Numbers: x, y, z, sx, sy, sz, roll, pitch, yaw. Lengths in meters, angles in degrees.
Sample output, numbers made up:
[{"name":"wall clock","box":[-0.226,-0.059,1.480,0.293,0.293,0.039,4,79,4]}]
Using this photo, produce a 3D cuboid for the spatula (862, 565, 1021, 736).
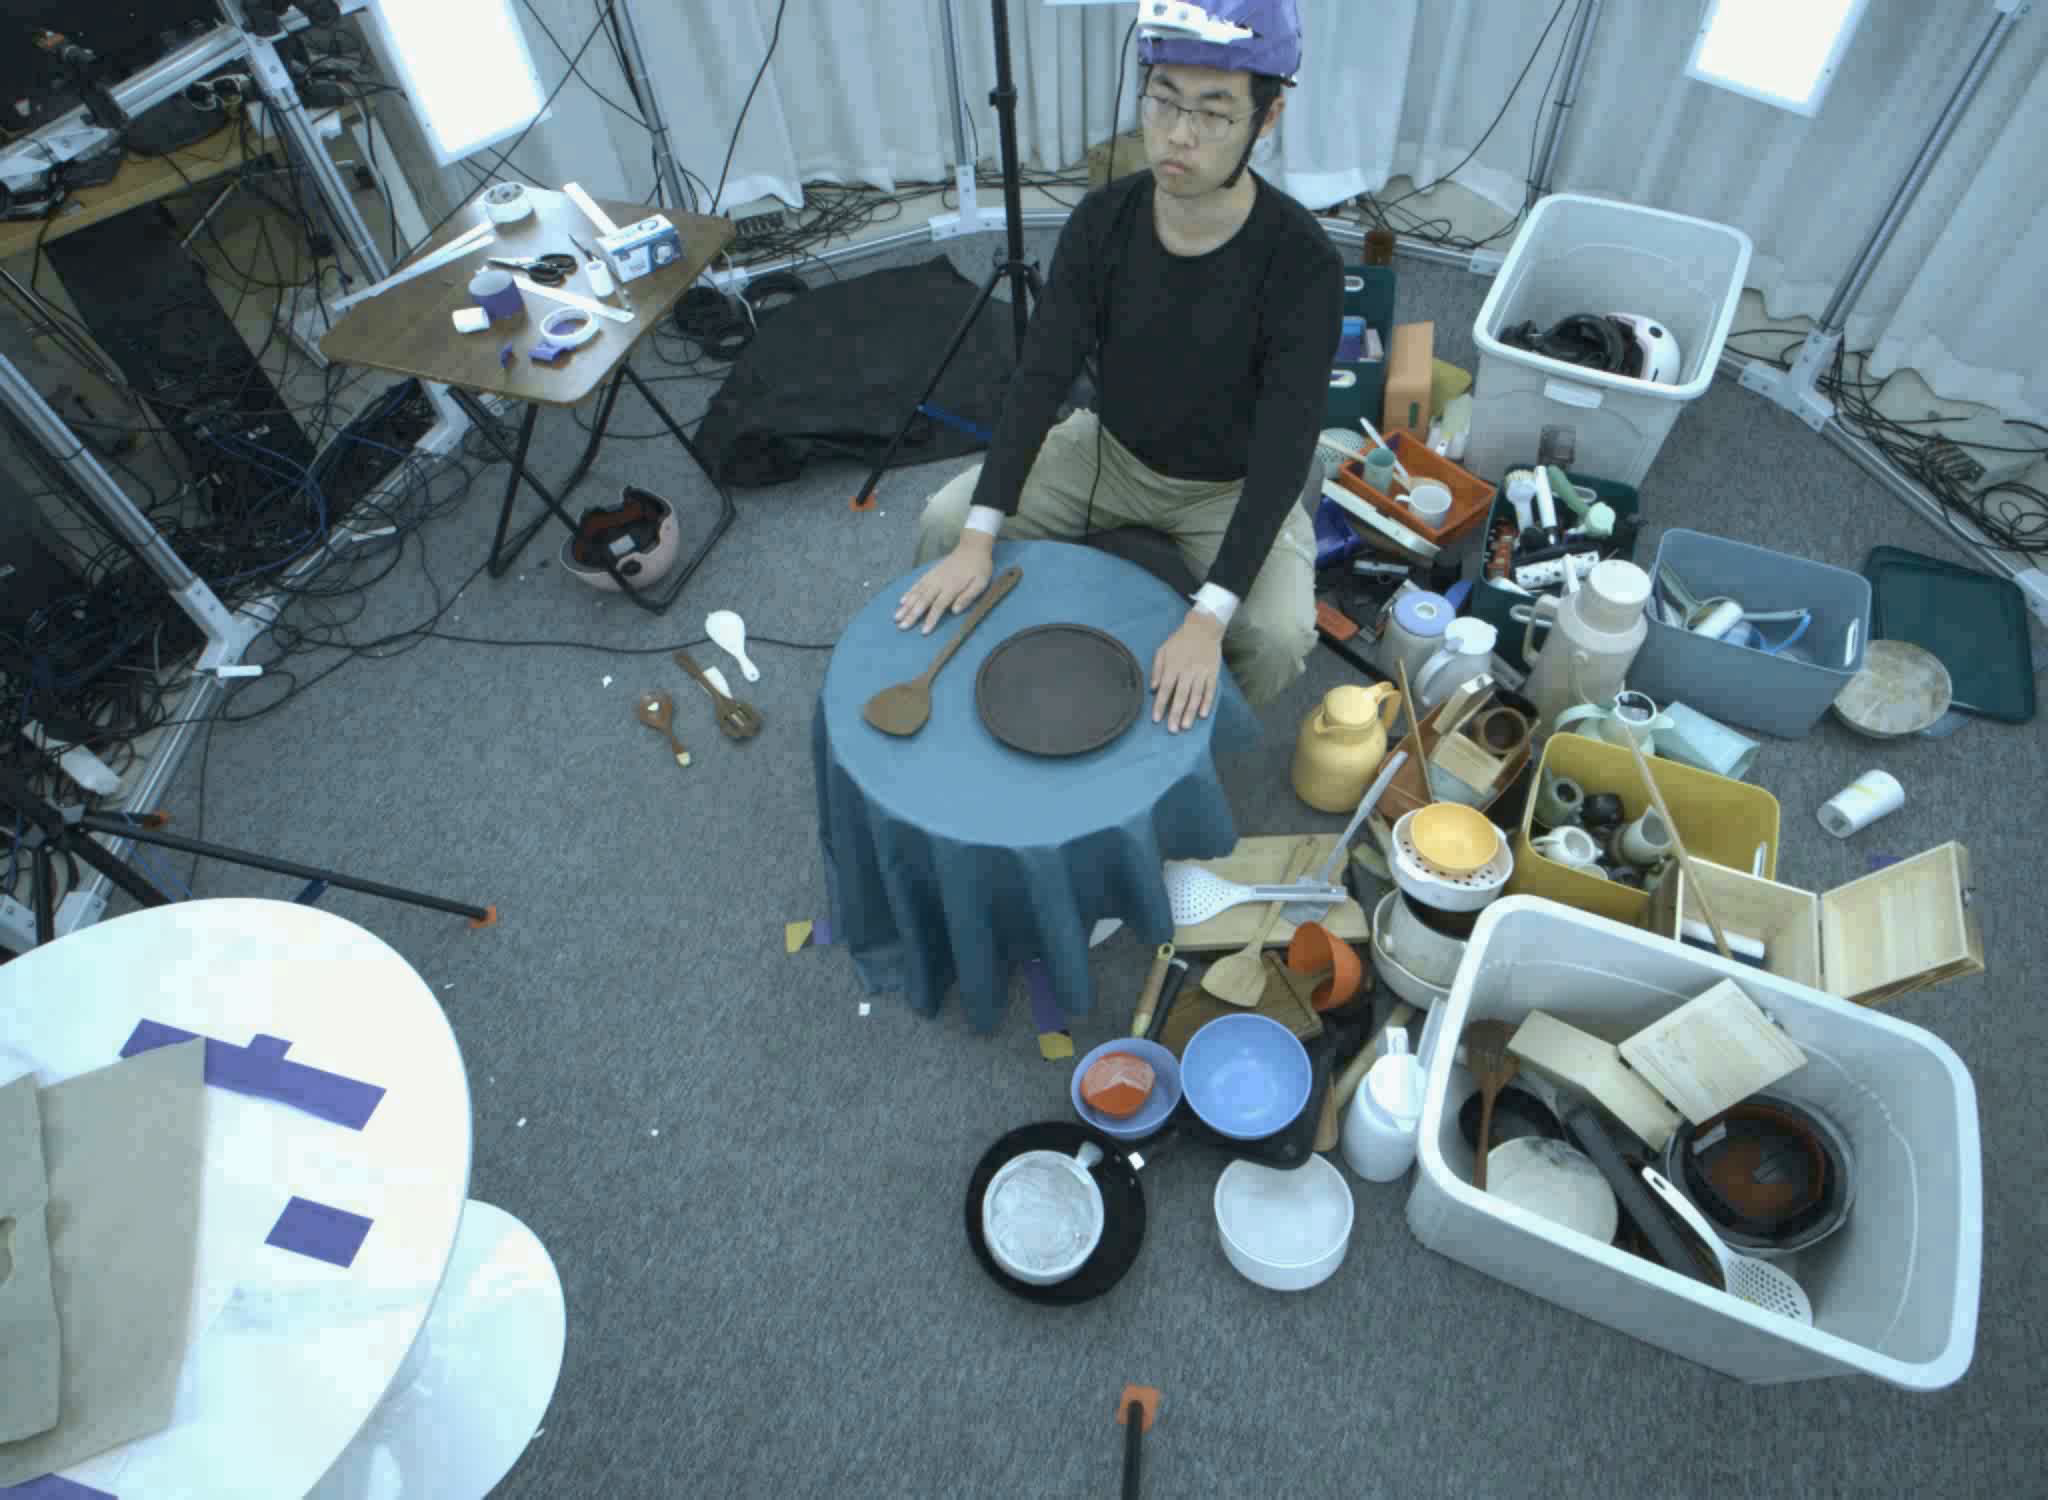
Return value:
[{"name":"spatula","box":[-0.111,-0.165,1.899,0.095,0.016,0.387,26,59,18]}]

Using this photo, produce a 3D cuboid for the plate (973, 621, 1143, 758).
[{"name":"plate","box":[0.051,-0.091,1.837,0.254,0.029,0.252,-1,55,3]}]
